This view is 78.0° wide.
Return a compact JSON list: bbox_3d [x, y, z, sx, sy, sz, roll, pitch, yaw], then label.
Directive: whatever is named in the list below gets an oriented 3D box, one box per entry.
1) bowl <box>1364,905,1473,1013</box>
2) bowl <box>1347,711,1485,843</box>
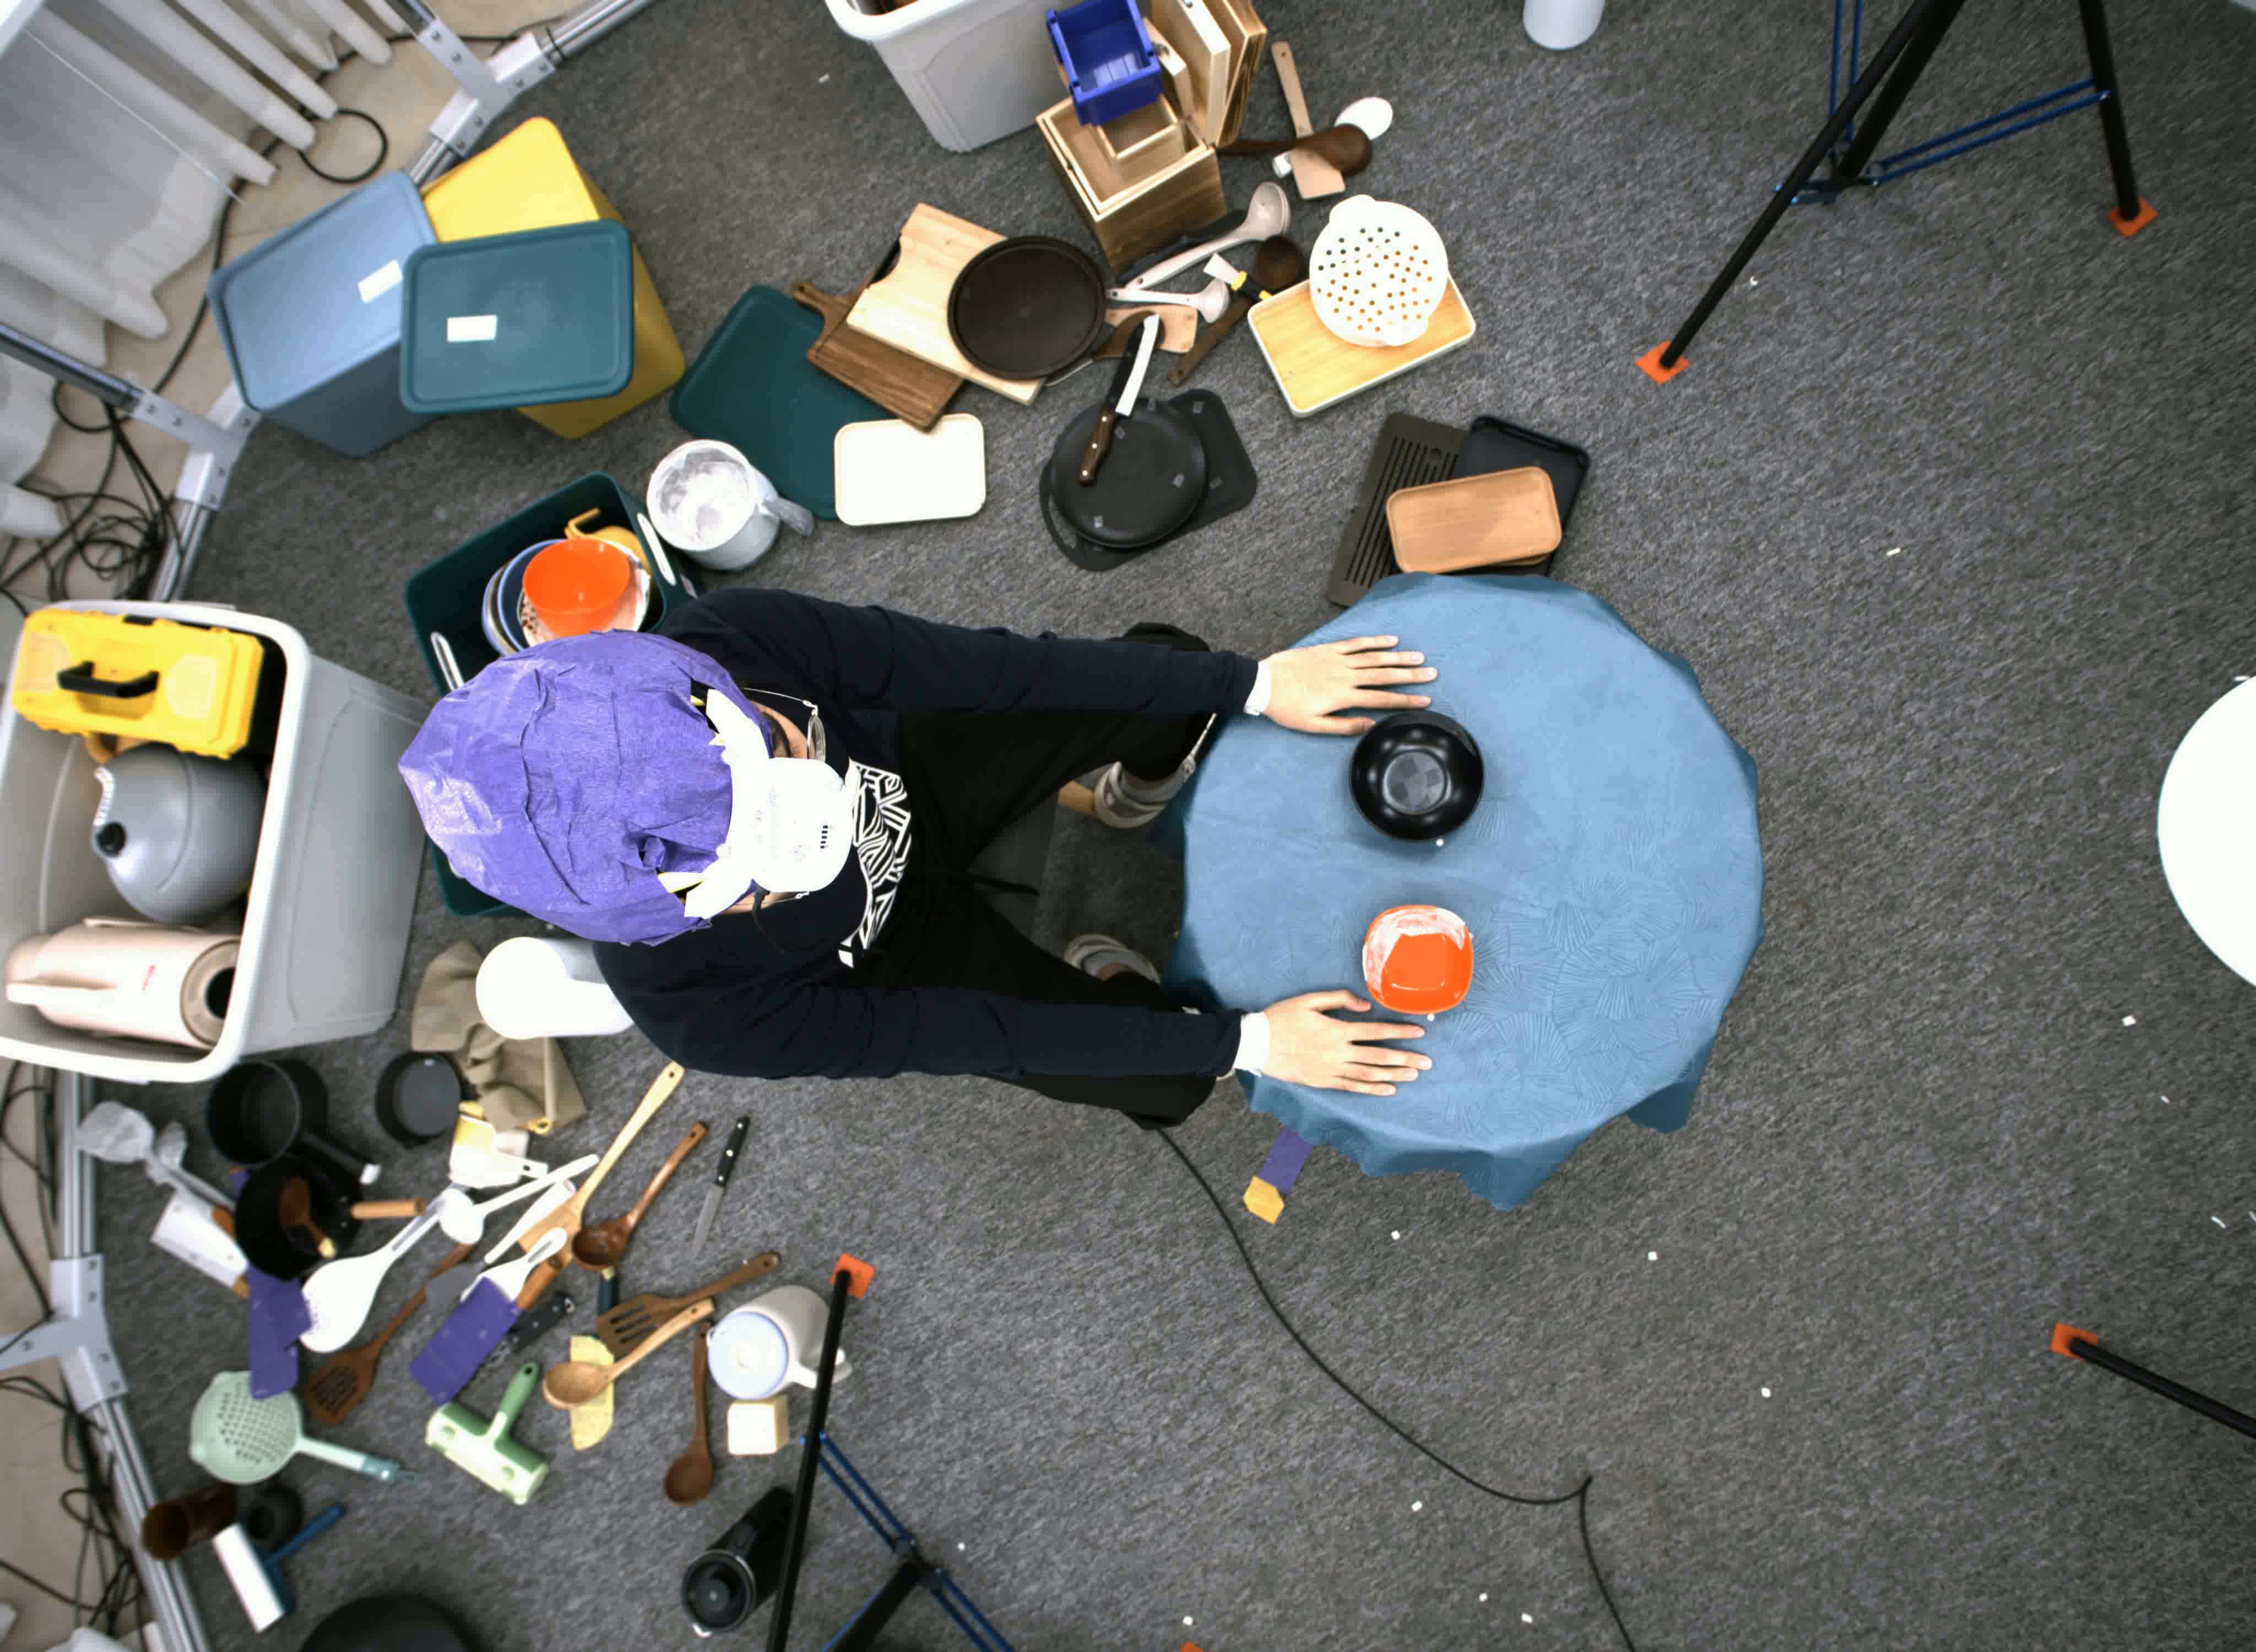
[{"bbox_3d":[0.298,0.135,1.424,0.119,0.051,0.118,-1,88,9],"label":"bowl"},{"bbox_3d":[0.301,-0.050,1.439,0.141,0.050,0.139,-1,86,15],"label":"bowl"}]
